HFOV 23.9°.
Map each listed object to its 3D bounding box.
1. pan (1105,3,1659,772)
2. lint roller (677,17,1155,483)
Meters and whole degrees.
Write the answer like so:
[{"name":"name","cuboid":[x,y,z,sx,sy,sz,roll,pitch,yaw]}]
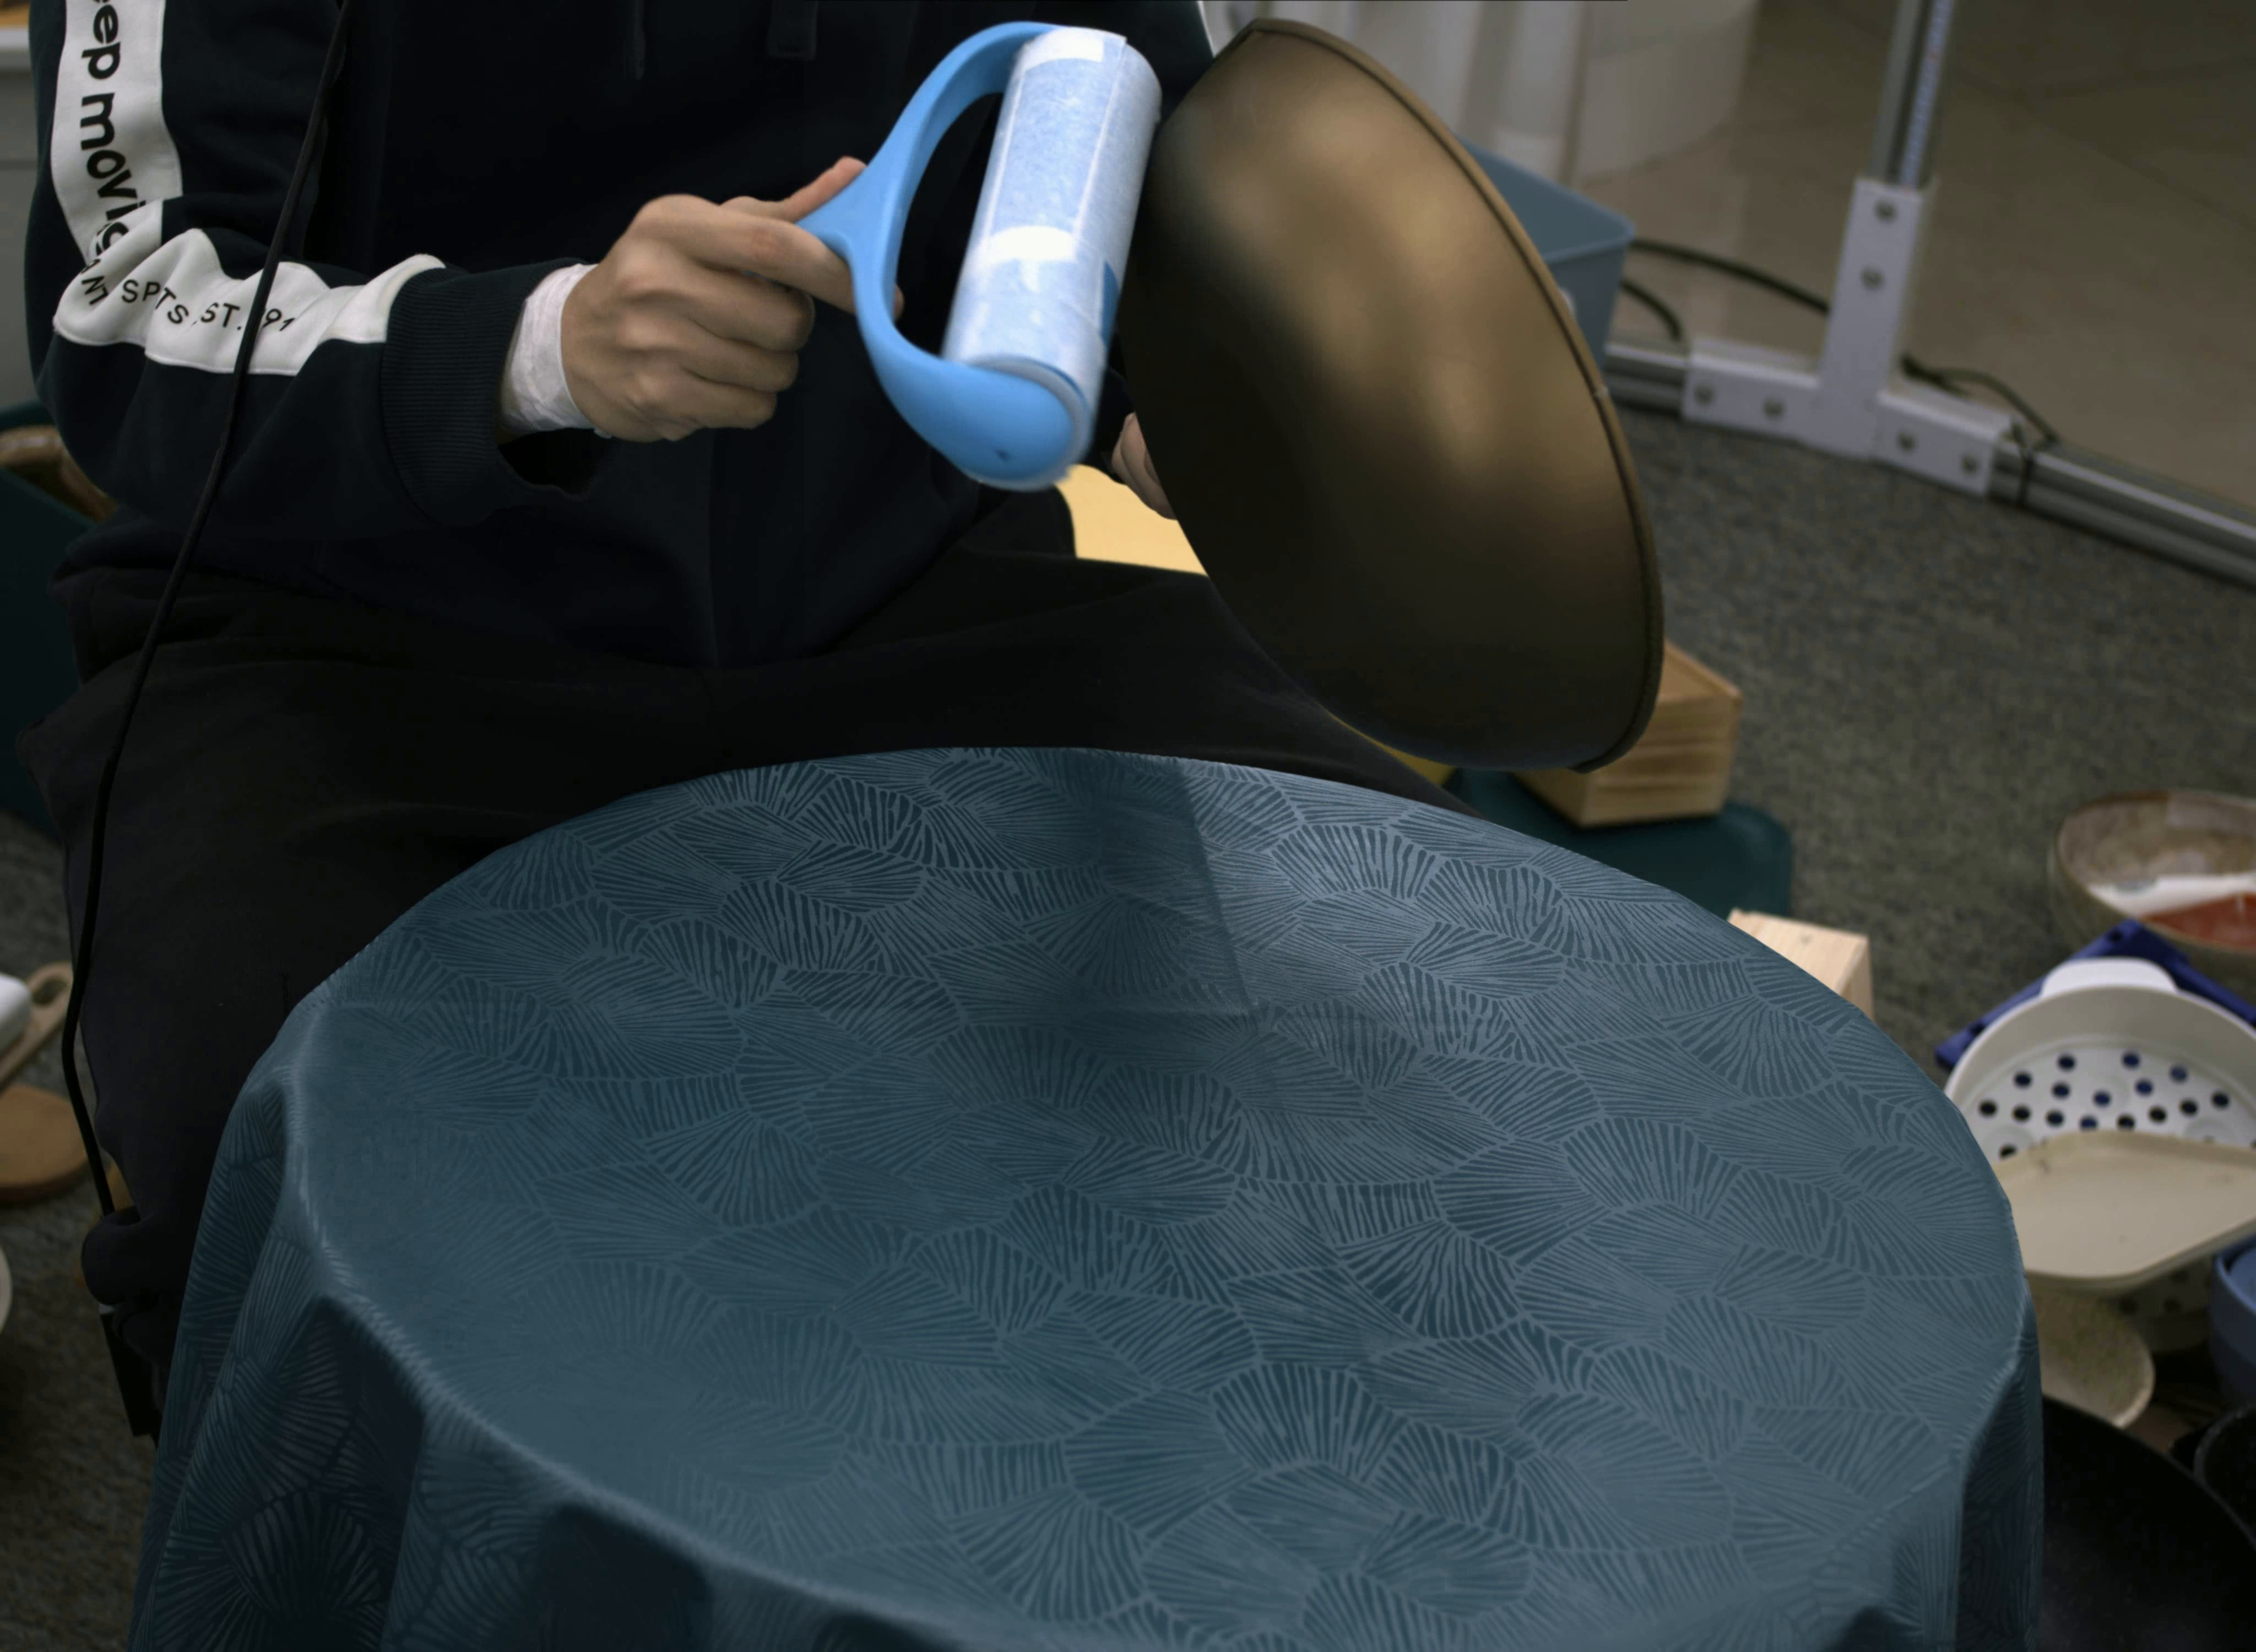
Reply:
[{"name":"pan","cuboid":[0.041,-0.133,1.919,0.086,0.288,0.465,-26,7,-18]},{"name":"lint roller","cuboid":[-0.079,-0.183,1.803,0.180,0.067,0.231,-14,41,13]}]
